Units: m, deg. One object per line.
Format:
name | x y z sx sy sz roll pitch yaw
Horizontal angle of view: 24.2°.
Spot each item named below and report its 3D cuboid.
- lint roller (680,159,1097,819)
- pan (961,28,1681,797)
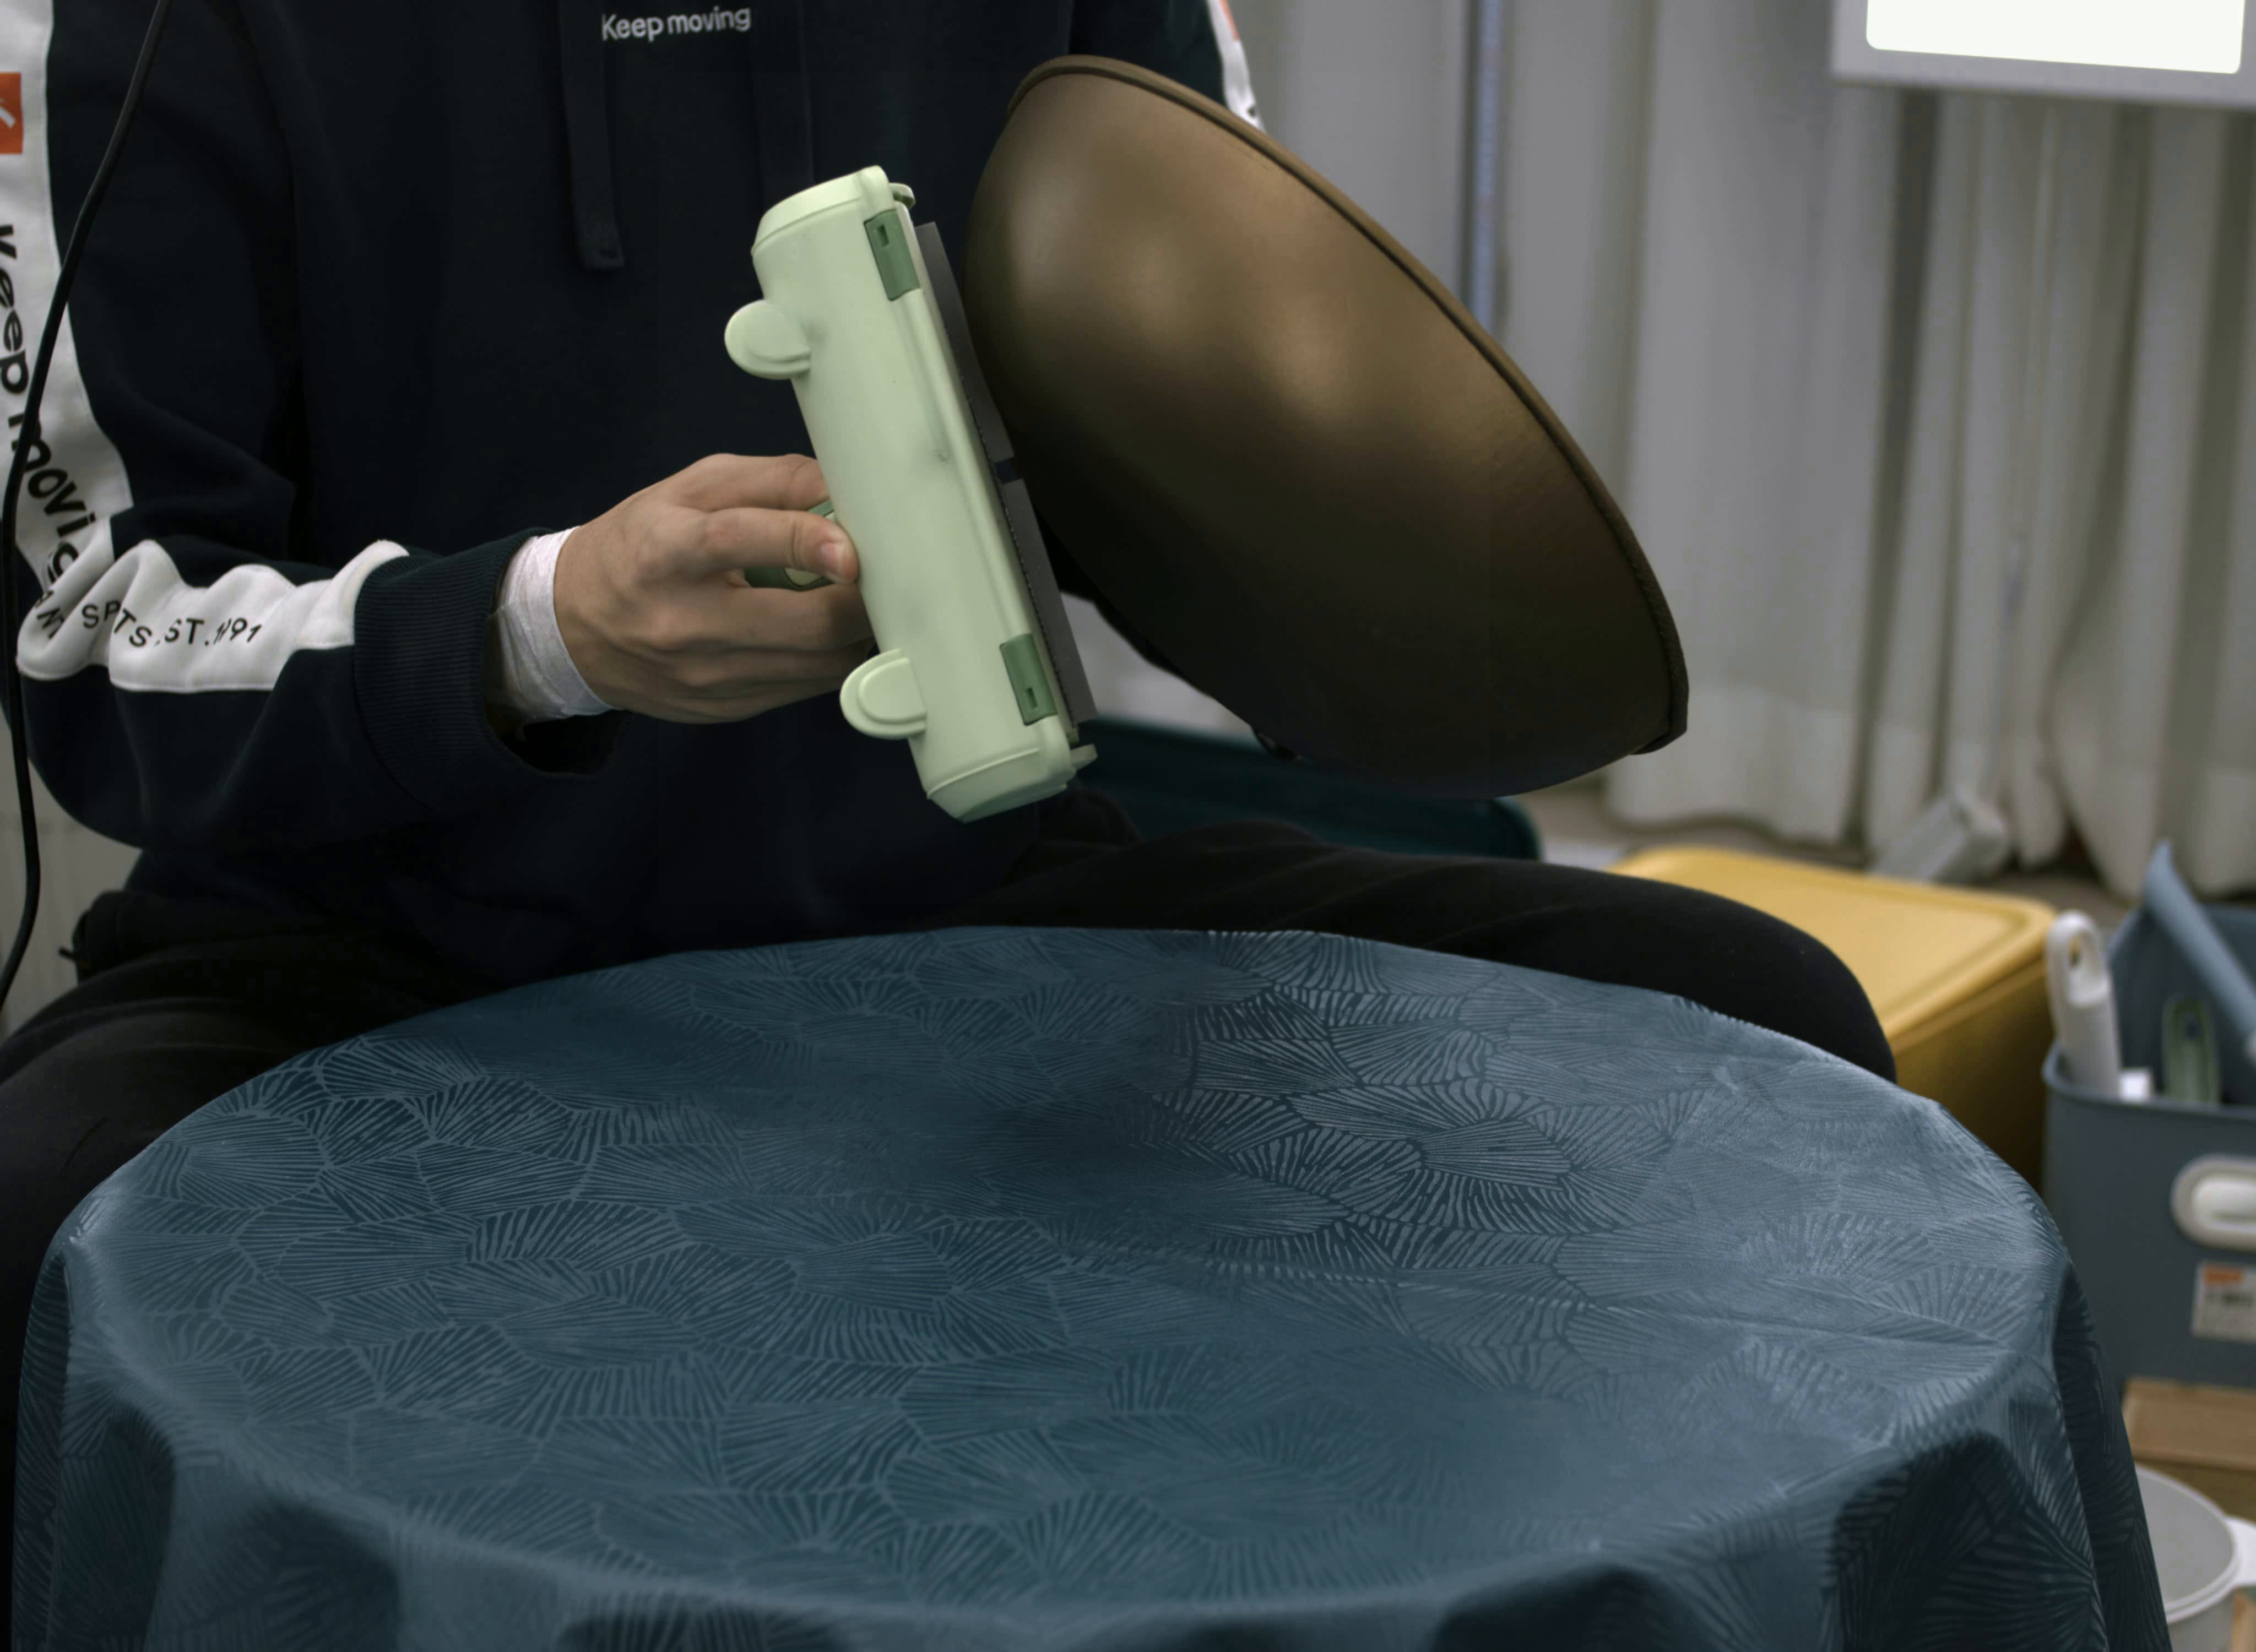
lint roller | -0.103 -0.085 1.629 0.082 0.199 0.182 -14 -6 -45
pan | 0.036 -0.078 1.687 0.087 0.287 0.465 -43 -10 -14
